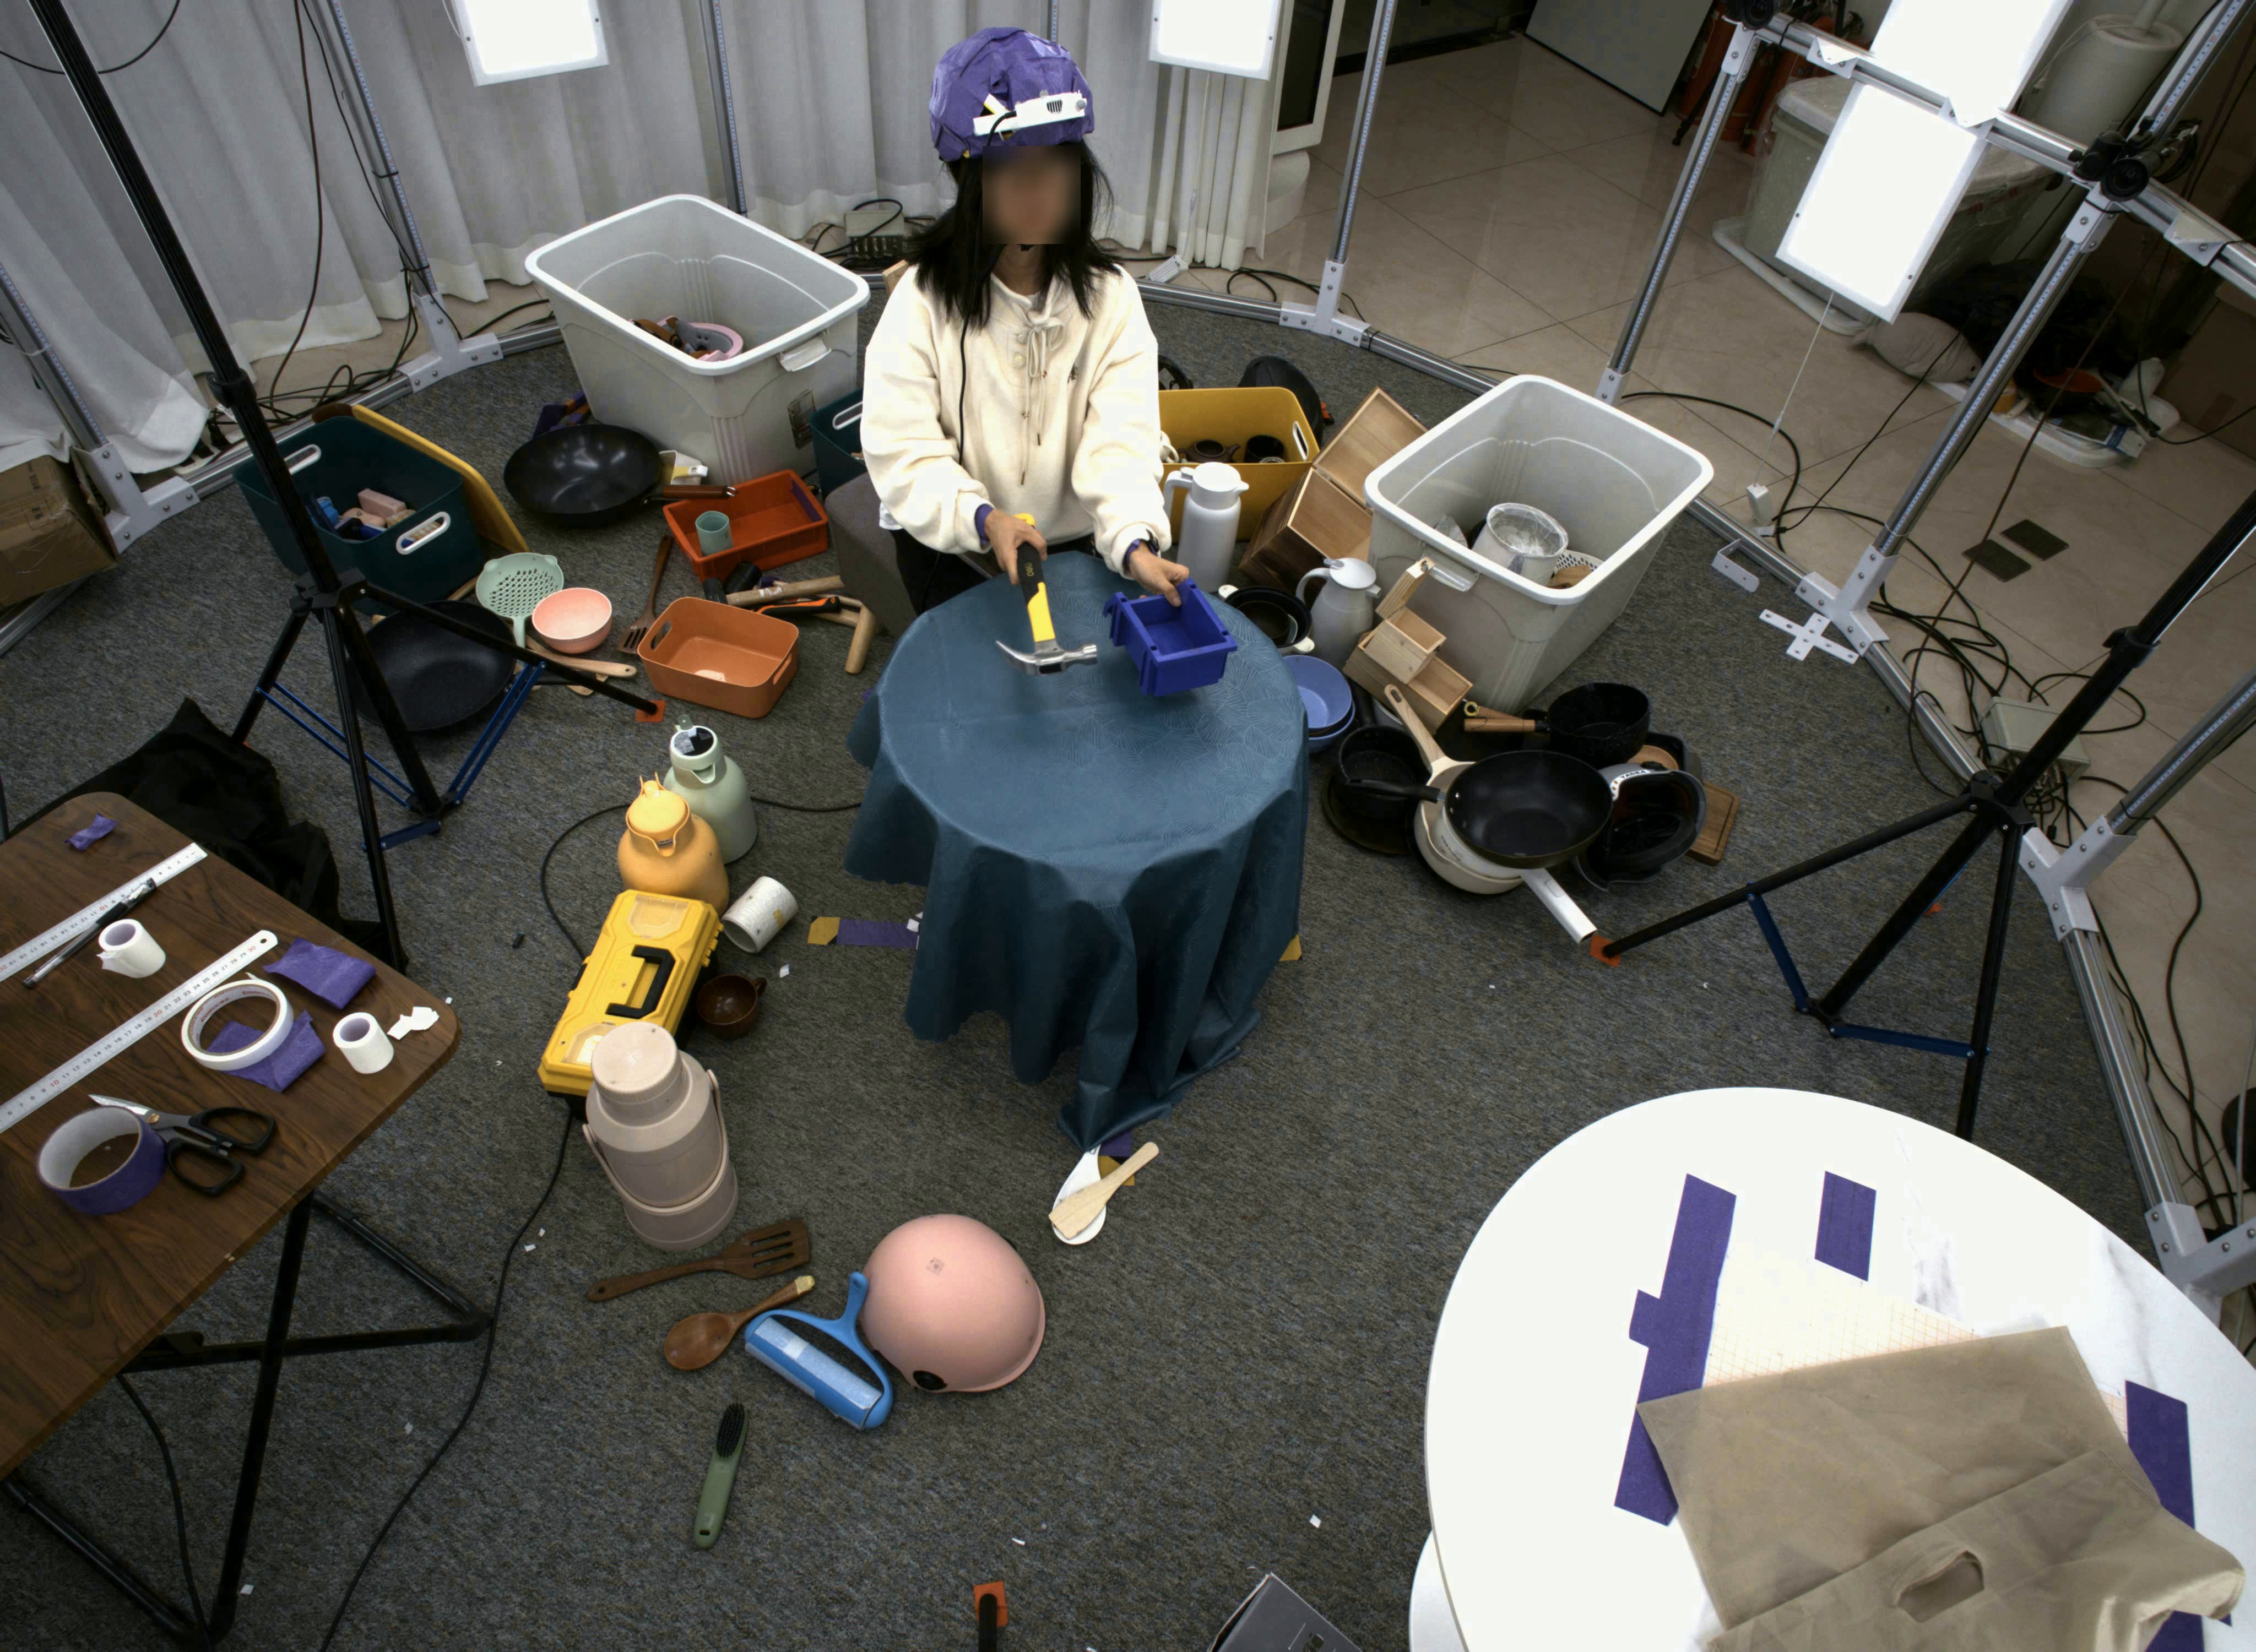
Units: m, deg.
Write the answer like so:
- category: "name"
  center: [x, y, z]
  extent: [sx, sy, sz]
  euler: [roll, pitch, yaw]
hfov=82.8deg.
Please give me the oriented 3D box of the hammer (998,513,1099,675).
- category: "hammer"
  center: [-0.130, -0.339, 1.839]
  extent: [0.131, 0.031, 0.347]
  euler: [-11, 49, -1]

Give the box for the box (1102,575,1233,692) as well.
- category: "box"
  center: [0.050, -0.276, 1.806]
  extent: [0.124, 0.080, 0.183]
  euler: [-13, 53, -18]
